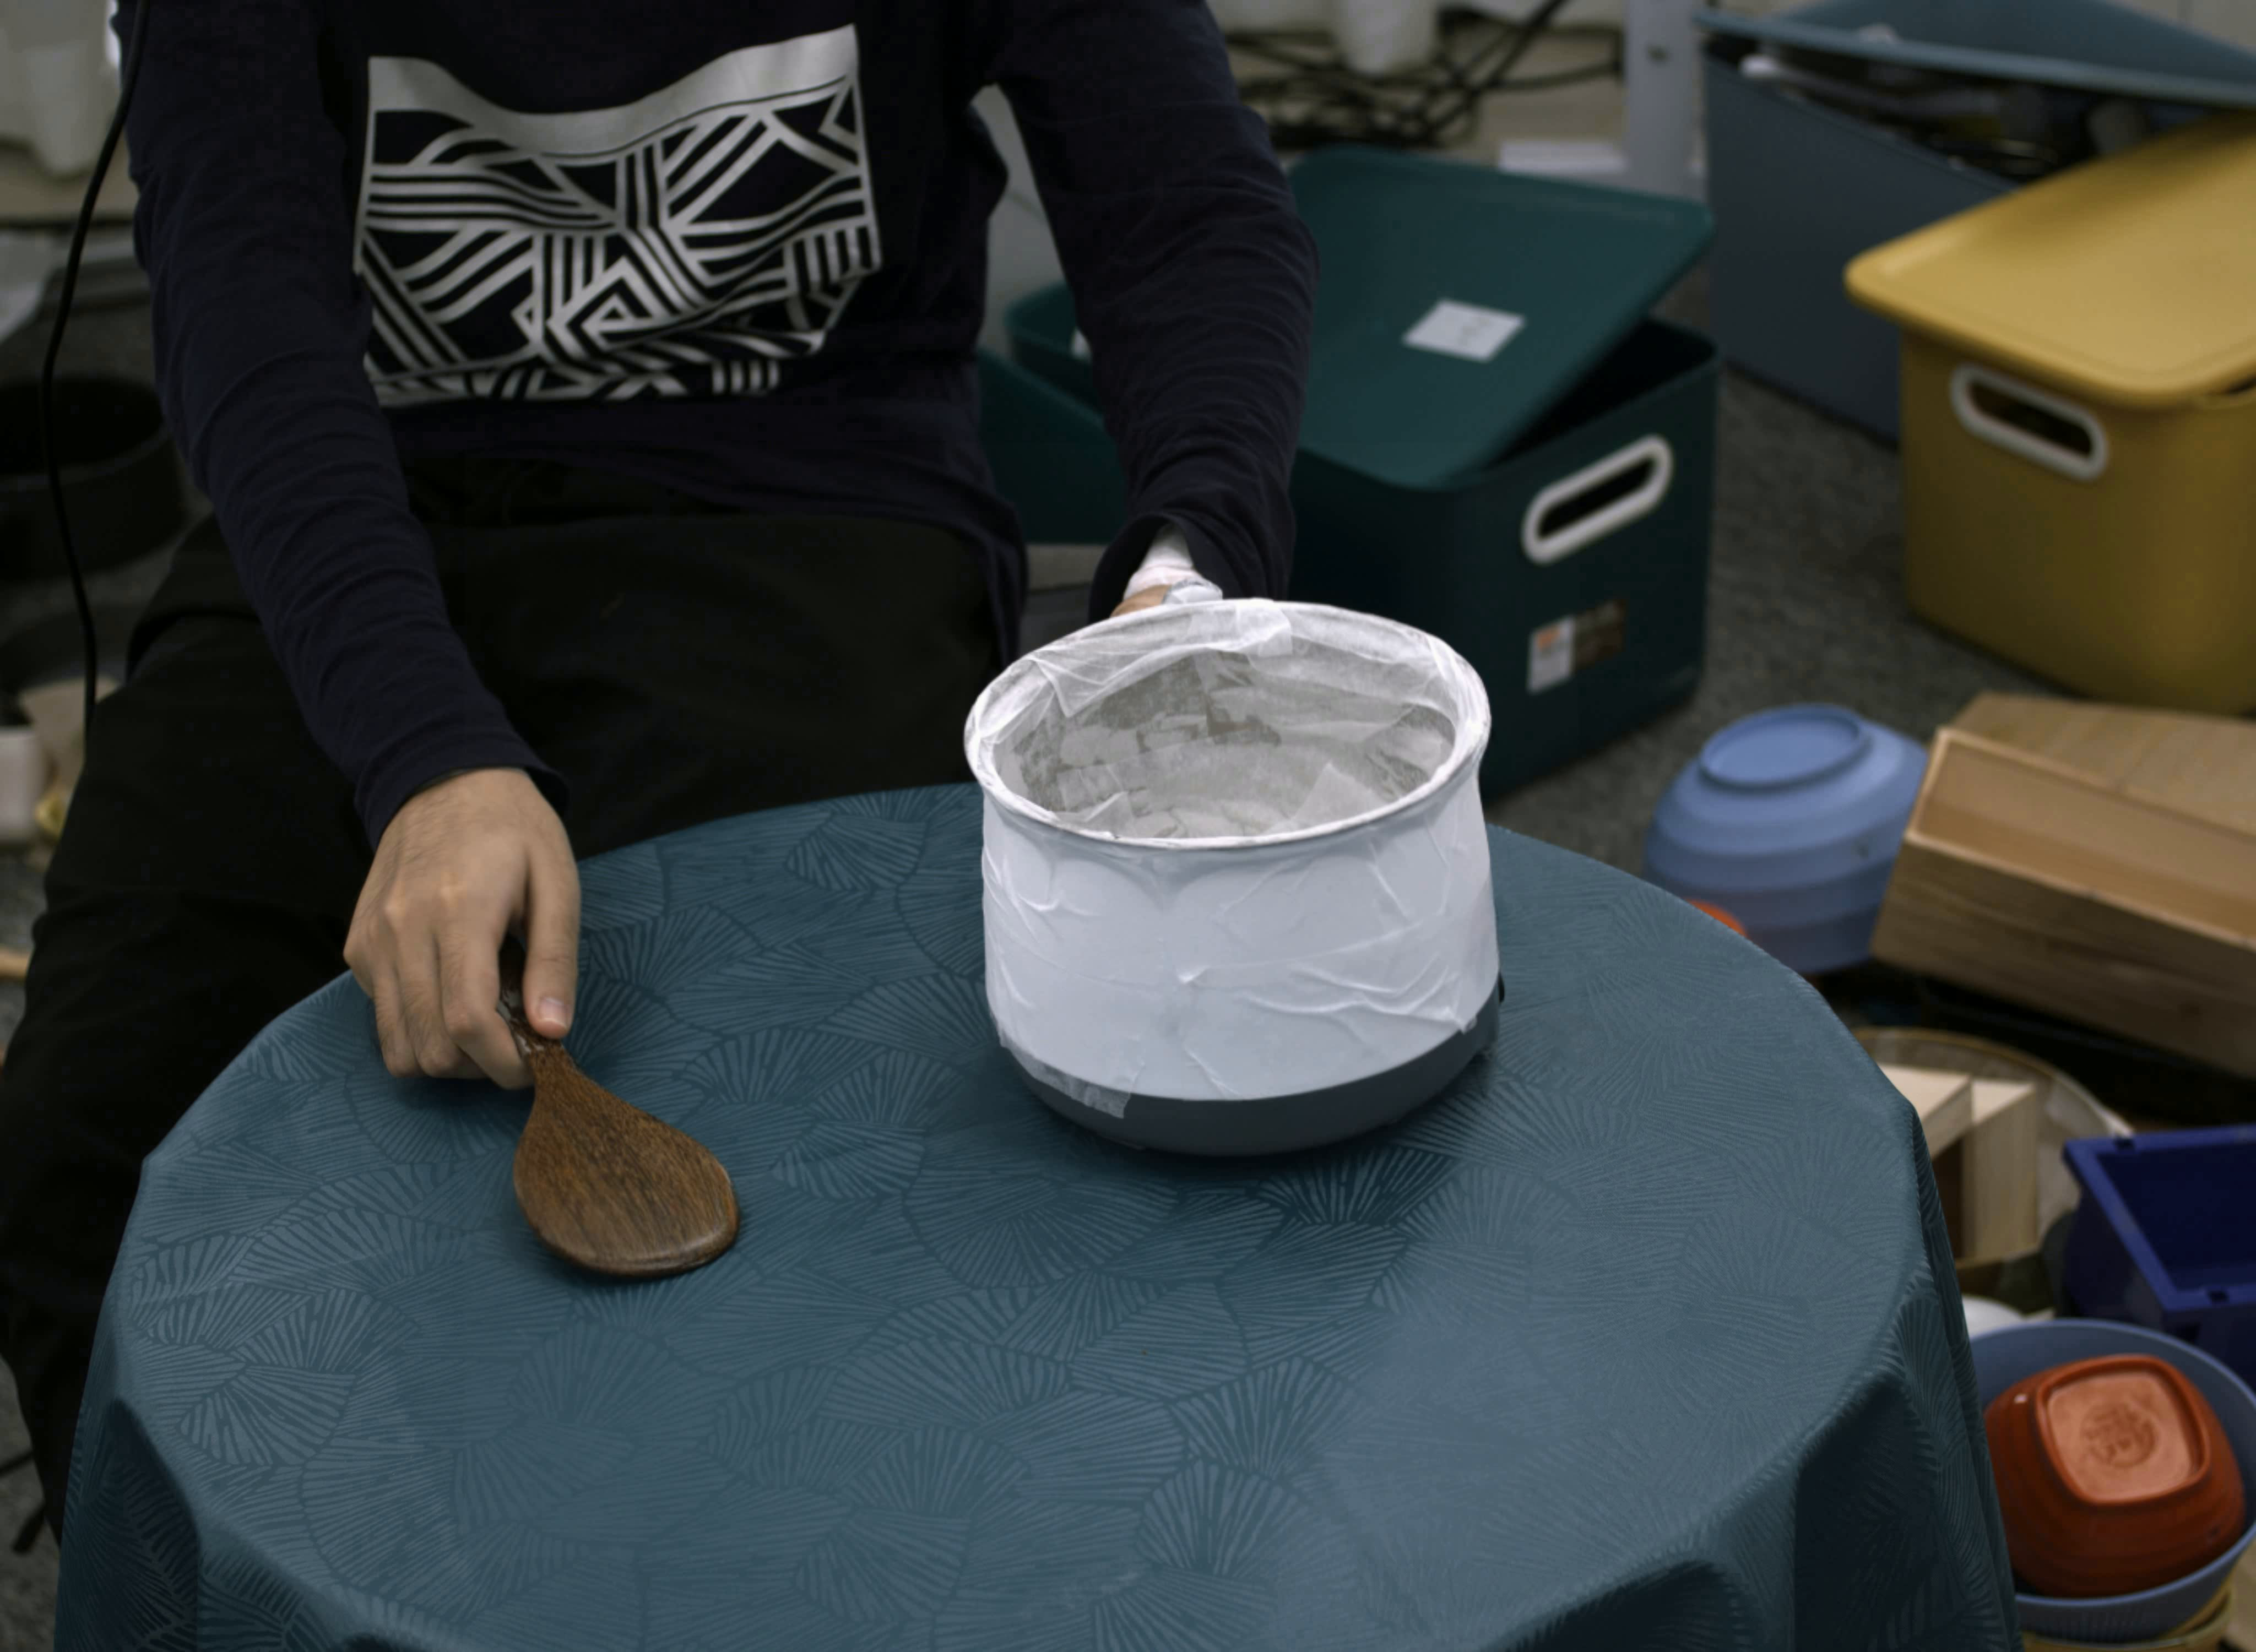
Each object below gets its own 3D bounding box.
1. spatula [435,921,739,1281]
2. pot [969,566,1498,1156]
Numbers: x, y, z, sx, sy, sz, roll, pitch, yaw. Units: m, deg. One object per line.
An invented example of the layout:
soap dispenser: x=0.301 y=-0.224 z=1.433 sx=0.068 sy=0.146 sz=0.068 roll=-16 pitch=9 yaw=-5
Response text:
spatula: x=-0.192 y=0.090 z=1.905 sx=0.072 sy=0.009 sz=0.218 roll=-5 pitch=32 yaw=-25
pot: x=0.033 y=0.004 z=1.928 sx=0.178 sy=0.135 sz=0.237 roll=-5 pitch=29 yaw=-6
